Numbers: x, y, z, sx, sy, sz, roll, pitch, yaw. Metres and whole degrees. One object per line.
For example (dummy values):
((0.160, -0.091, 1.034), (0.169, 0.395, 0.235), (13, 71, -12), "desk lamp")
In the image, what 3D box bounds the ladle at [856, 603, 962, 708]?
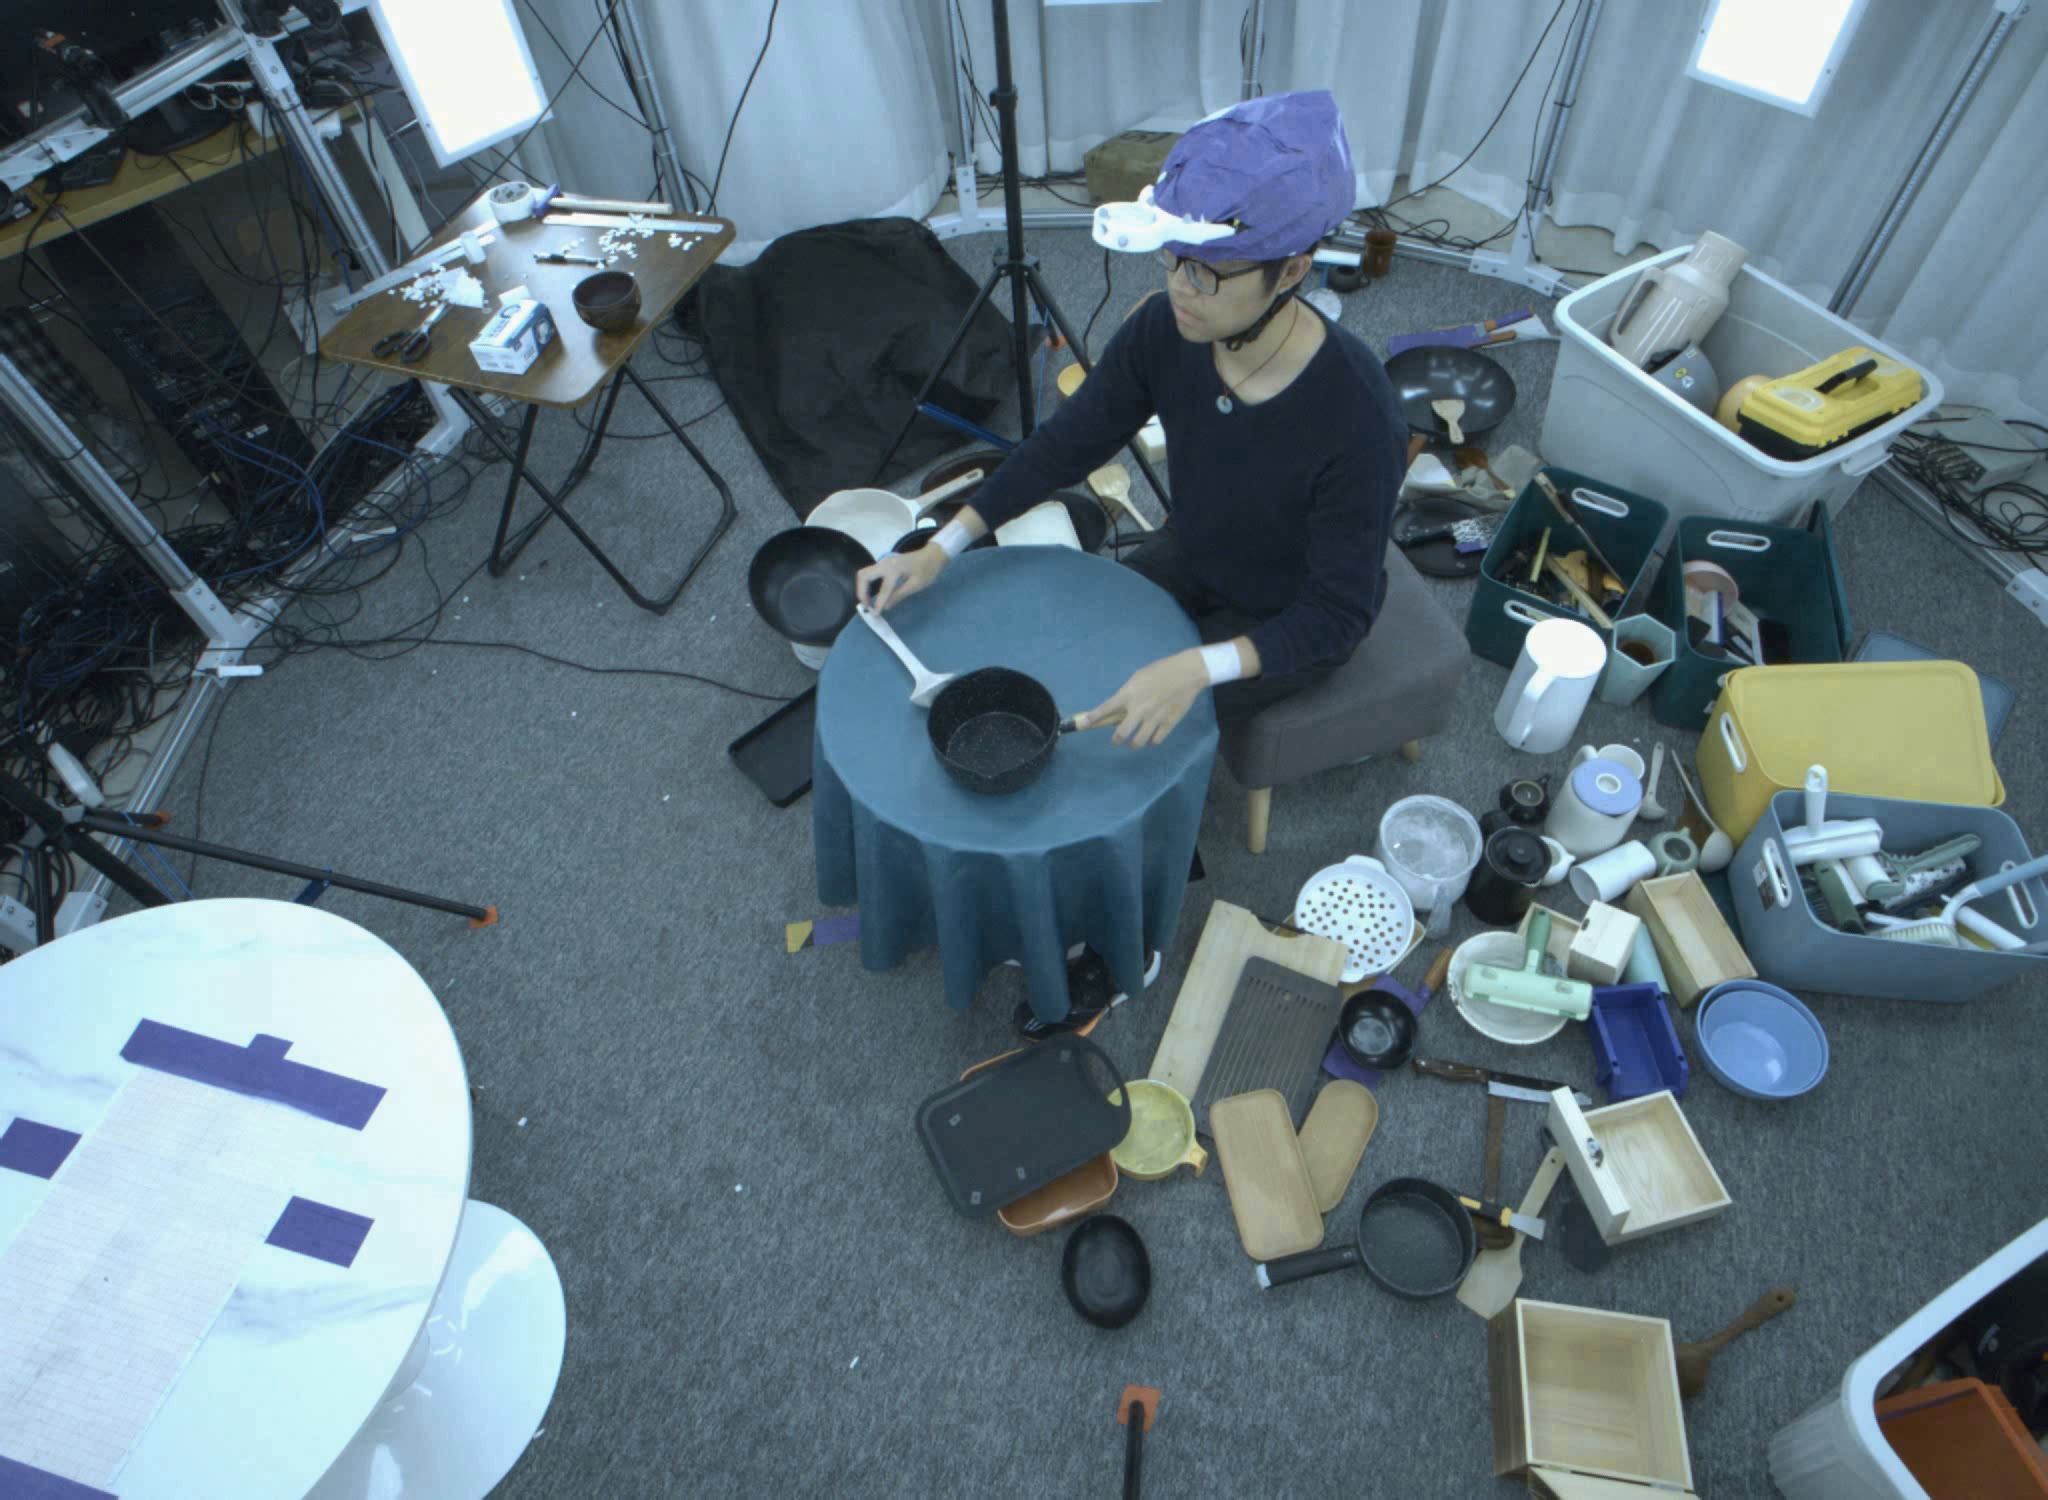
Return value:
((-0.192, -0.164, 1.869), (0.090, 0.070, 0.269), (-35, 60, -12), "ladle")

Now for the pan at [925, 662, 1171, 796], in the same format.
((0.035, -0.030, 1.741), (0.342, 0.109, 0.205), (-3, 54, 2), "pan")
